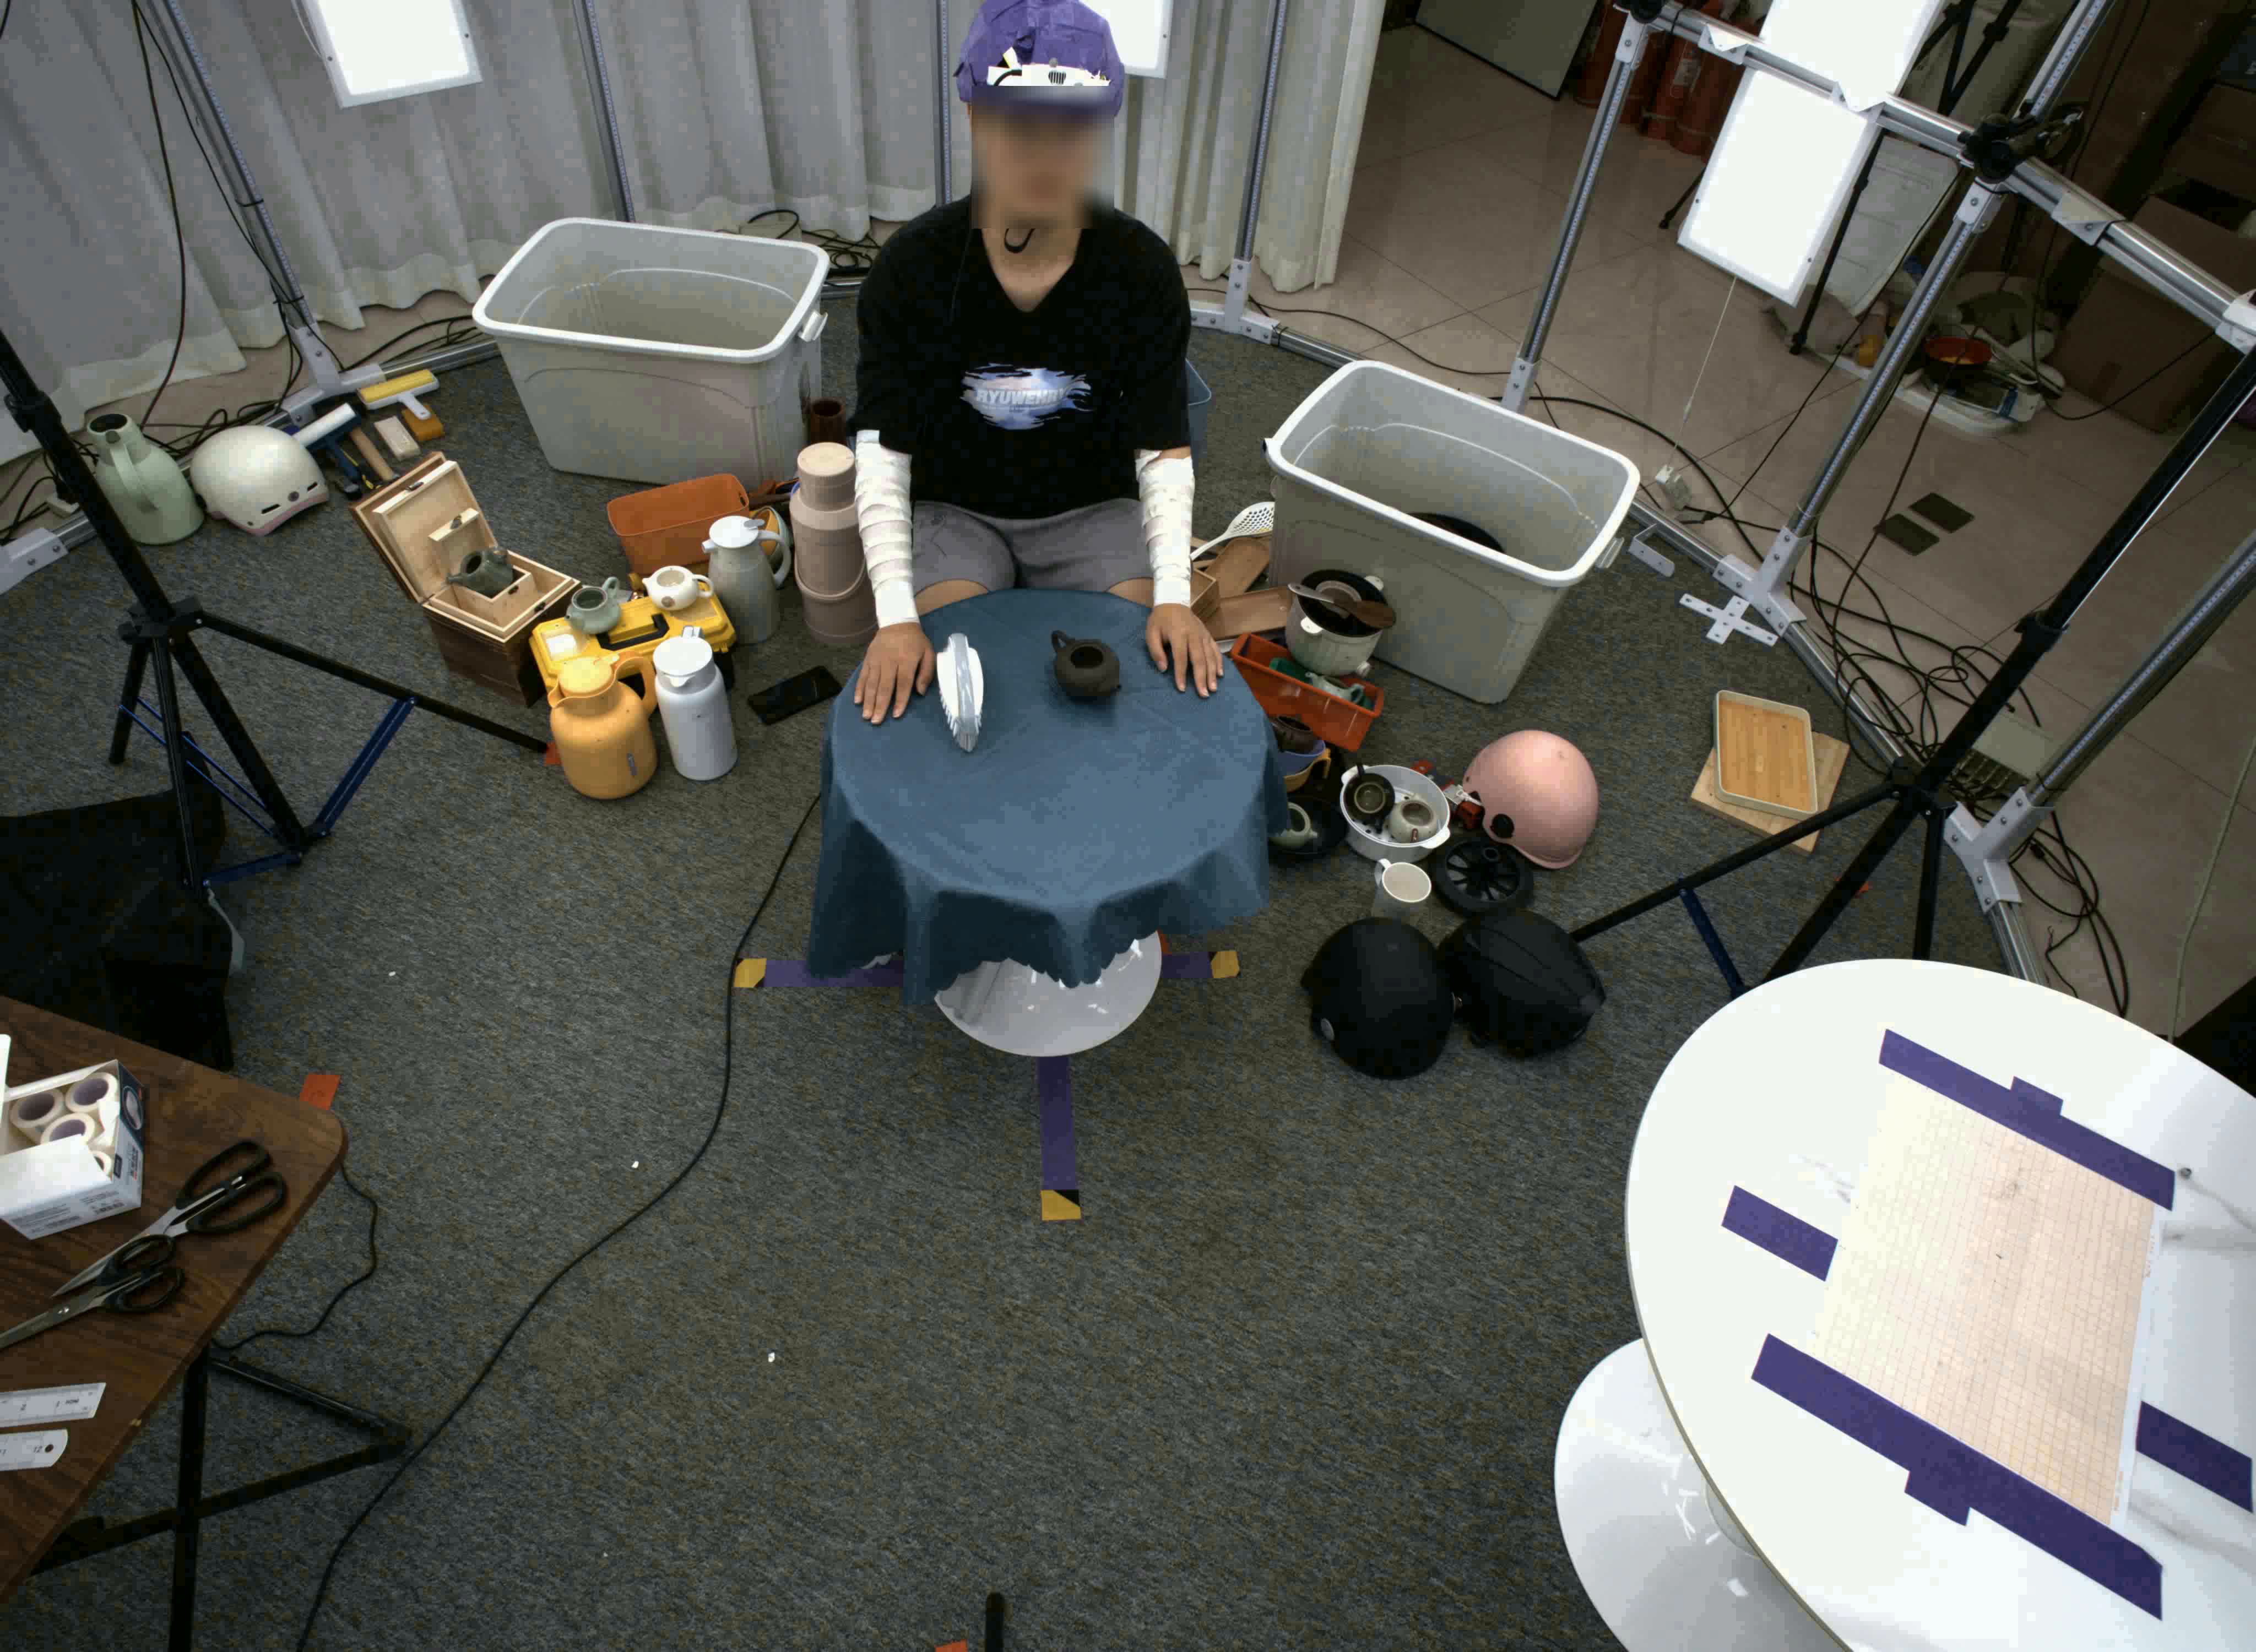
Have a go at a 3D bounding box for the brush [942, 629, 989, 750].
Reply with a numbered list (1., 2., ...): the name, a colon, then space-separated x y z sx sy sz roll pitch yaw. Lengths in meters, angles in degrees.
1. brush: -0.223 -0.197 1.770 0.061 0.092 0.180 -7 52 -5

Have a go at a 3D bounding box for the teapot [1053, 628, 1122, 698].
1. teapot: -0.059 -0.227 1.823 0.093 0.063 0.157 -29 58 -25
